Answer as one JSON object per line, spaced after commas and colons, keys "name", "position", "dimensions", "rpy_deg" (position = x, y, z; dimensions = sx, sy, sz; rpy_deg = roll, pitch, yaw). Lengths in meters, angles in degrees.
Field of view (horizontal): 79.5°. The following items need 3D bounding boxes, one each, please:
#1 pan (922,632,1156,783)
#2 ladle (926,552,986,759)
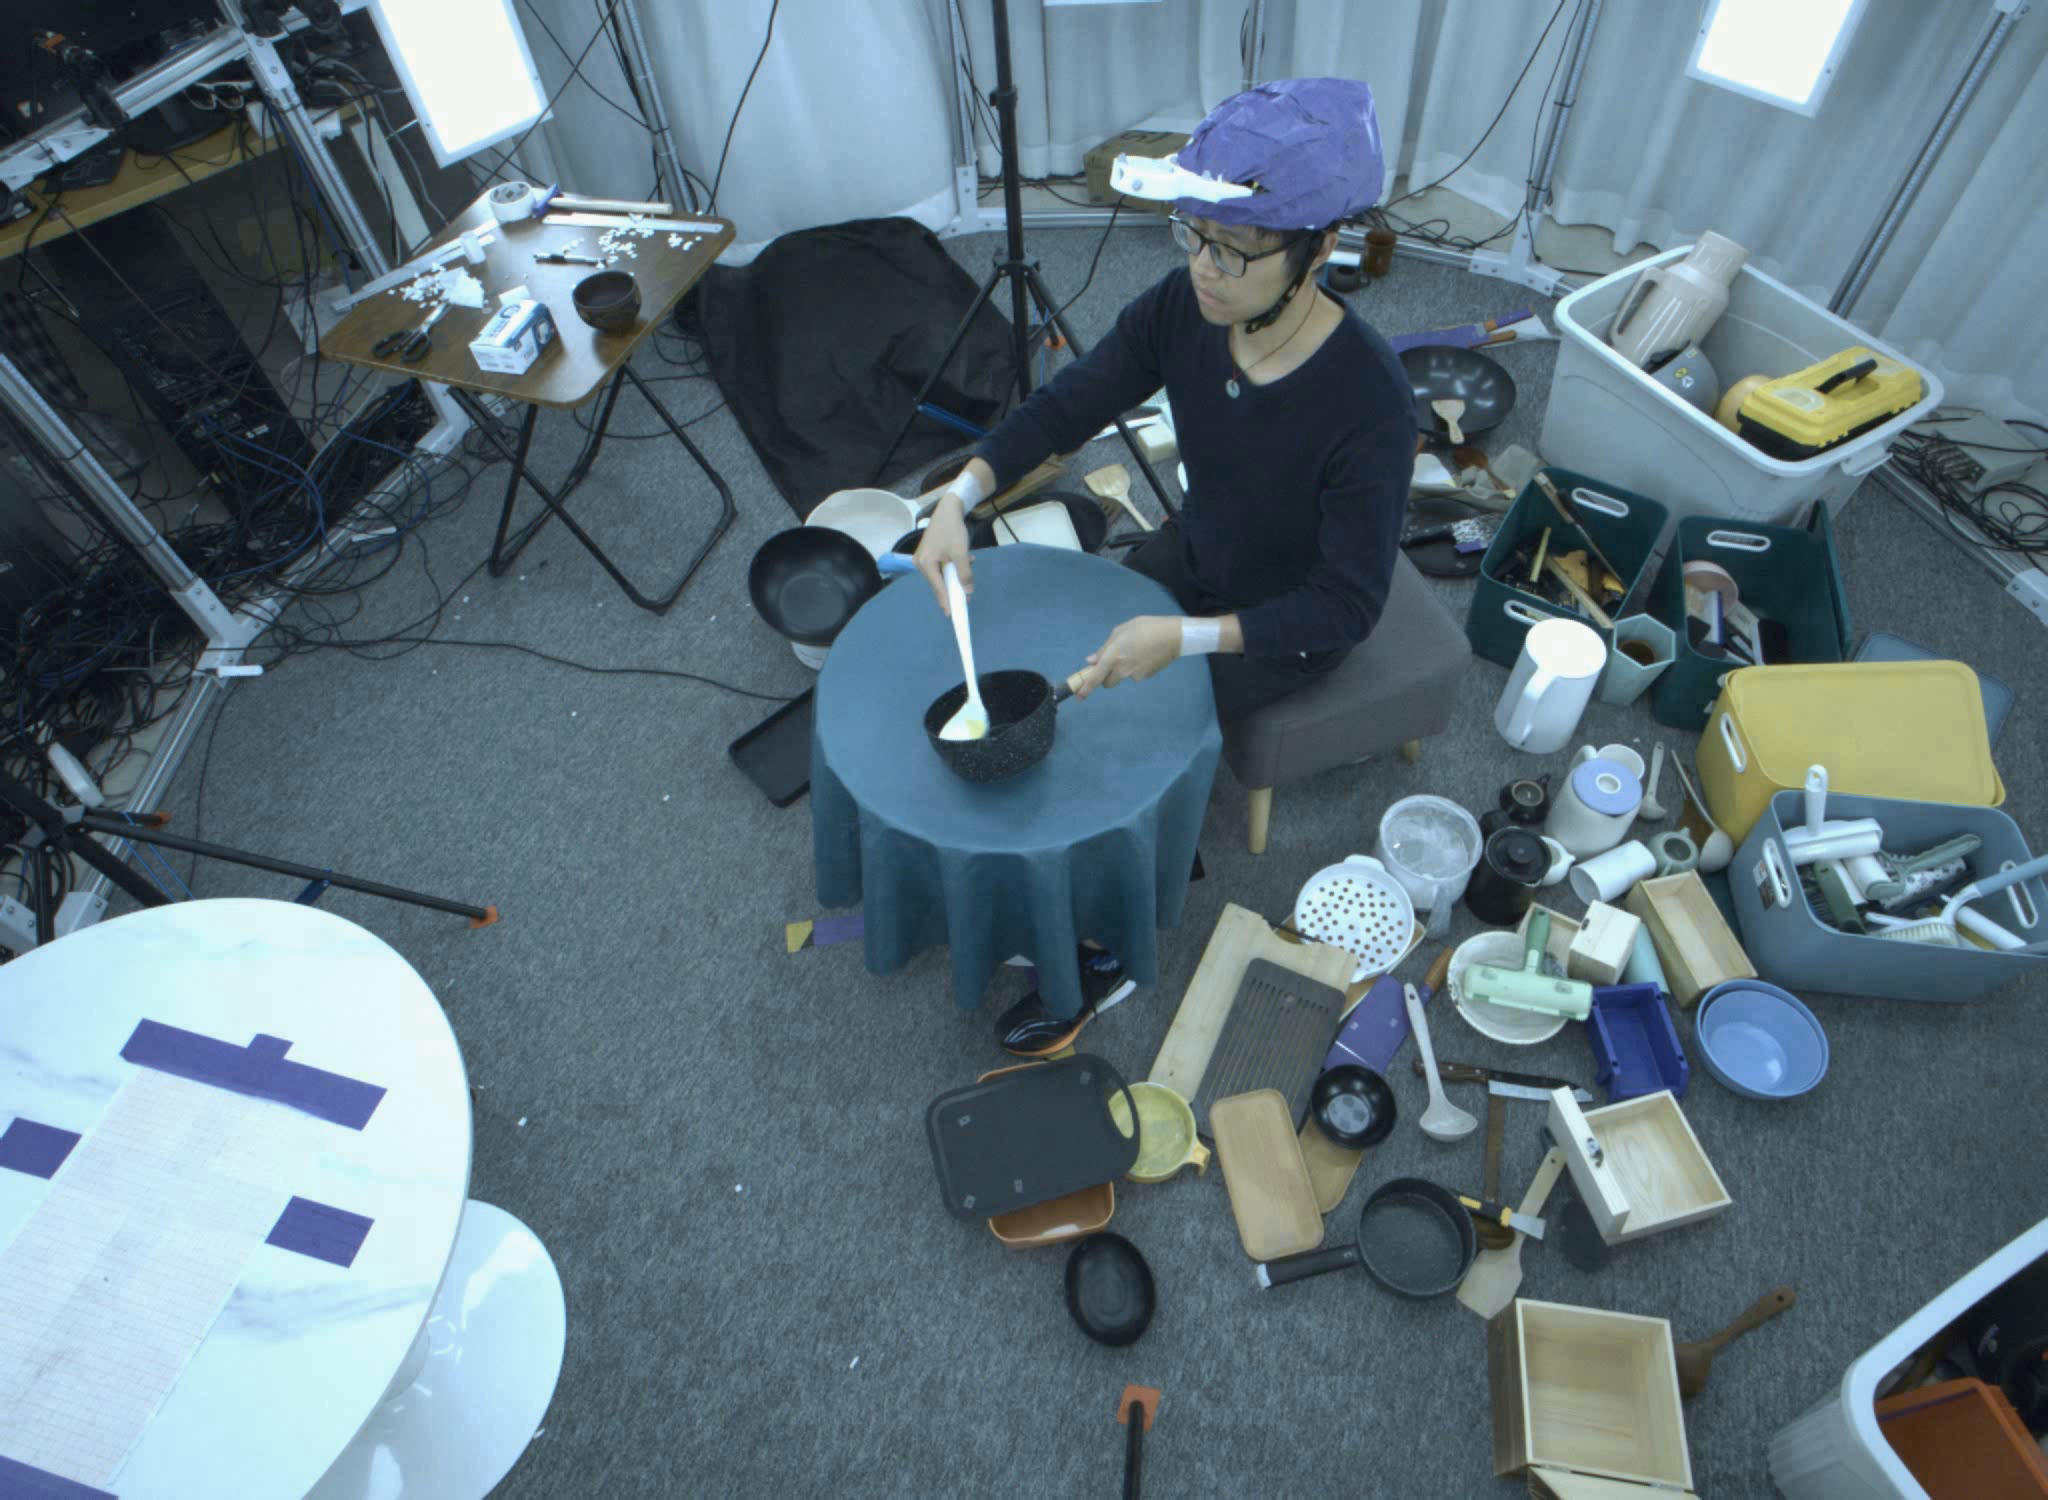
{"name": "pan", "position": [0.030, -0.065, 1.722], "dimensions": [0.343, 0.110, 0.204], "rpy_deg": [-19, 30, 0]}
{"name": "ladle", "position": [-0.109, -0.134, 1.736], "dimensions": [0.071, 0.088, 0.293], "rpy_deg": [-13, 91, -34]}
